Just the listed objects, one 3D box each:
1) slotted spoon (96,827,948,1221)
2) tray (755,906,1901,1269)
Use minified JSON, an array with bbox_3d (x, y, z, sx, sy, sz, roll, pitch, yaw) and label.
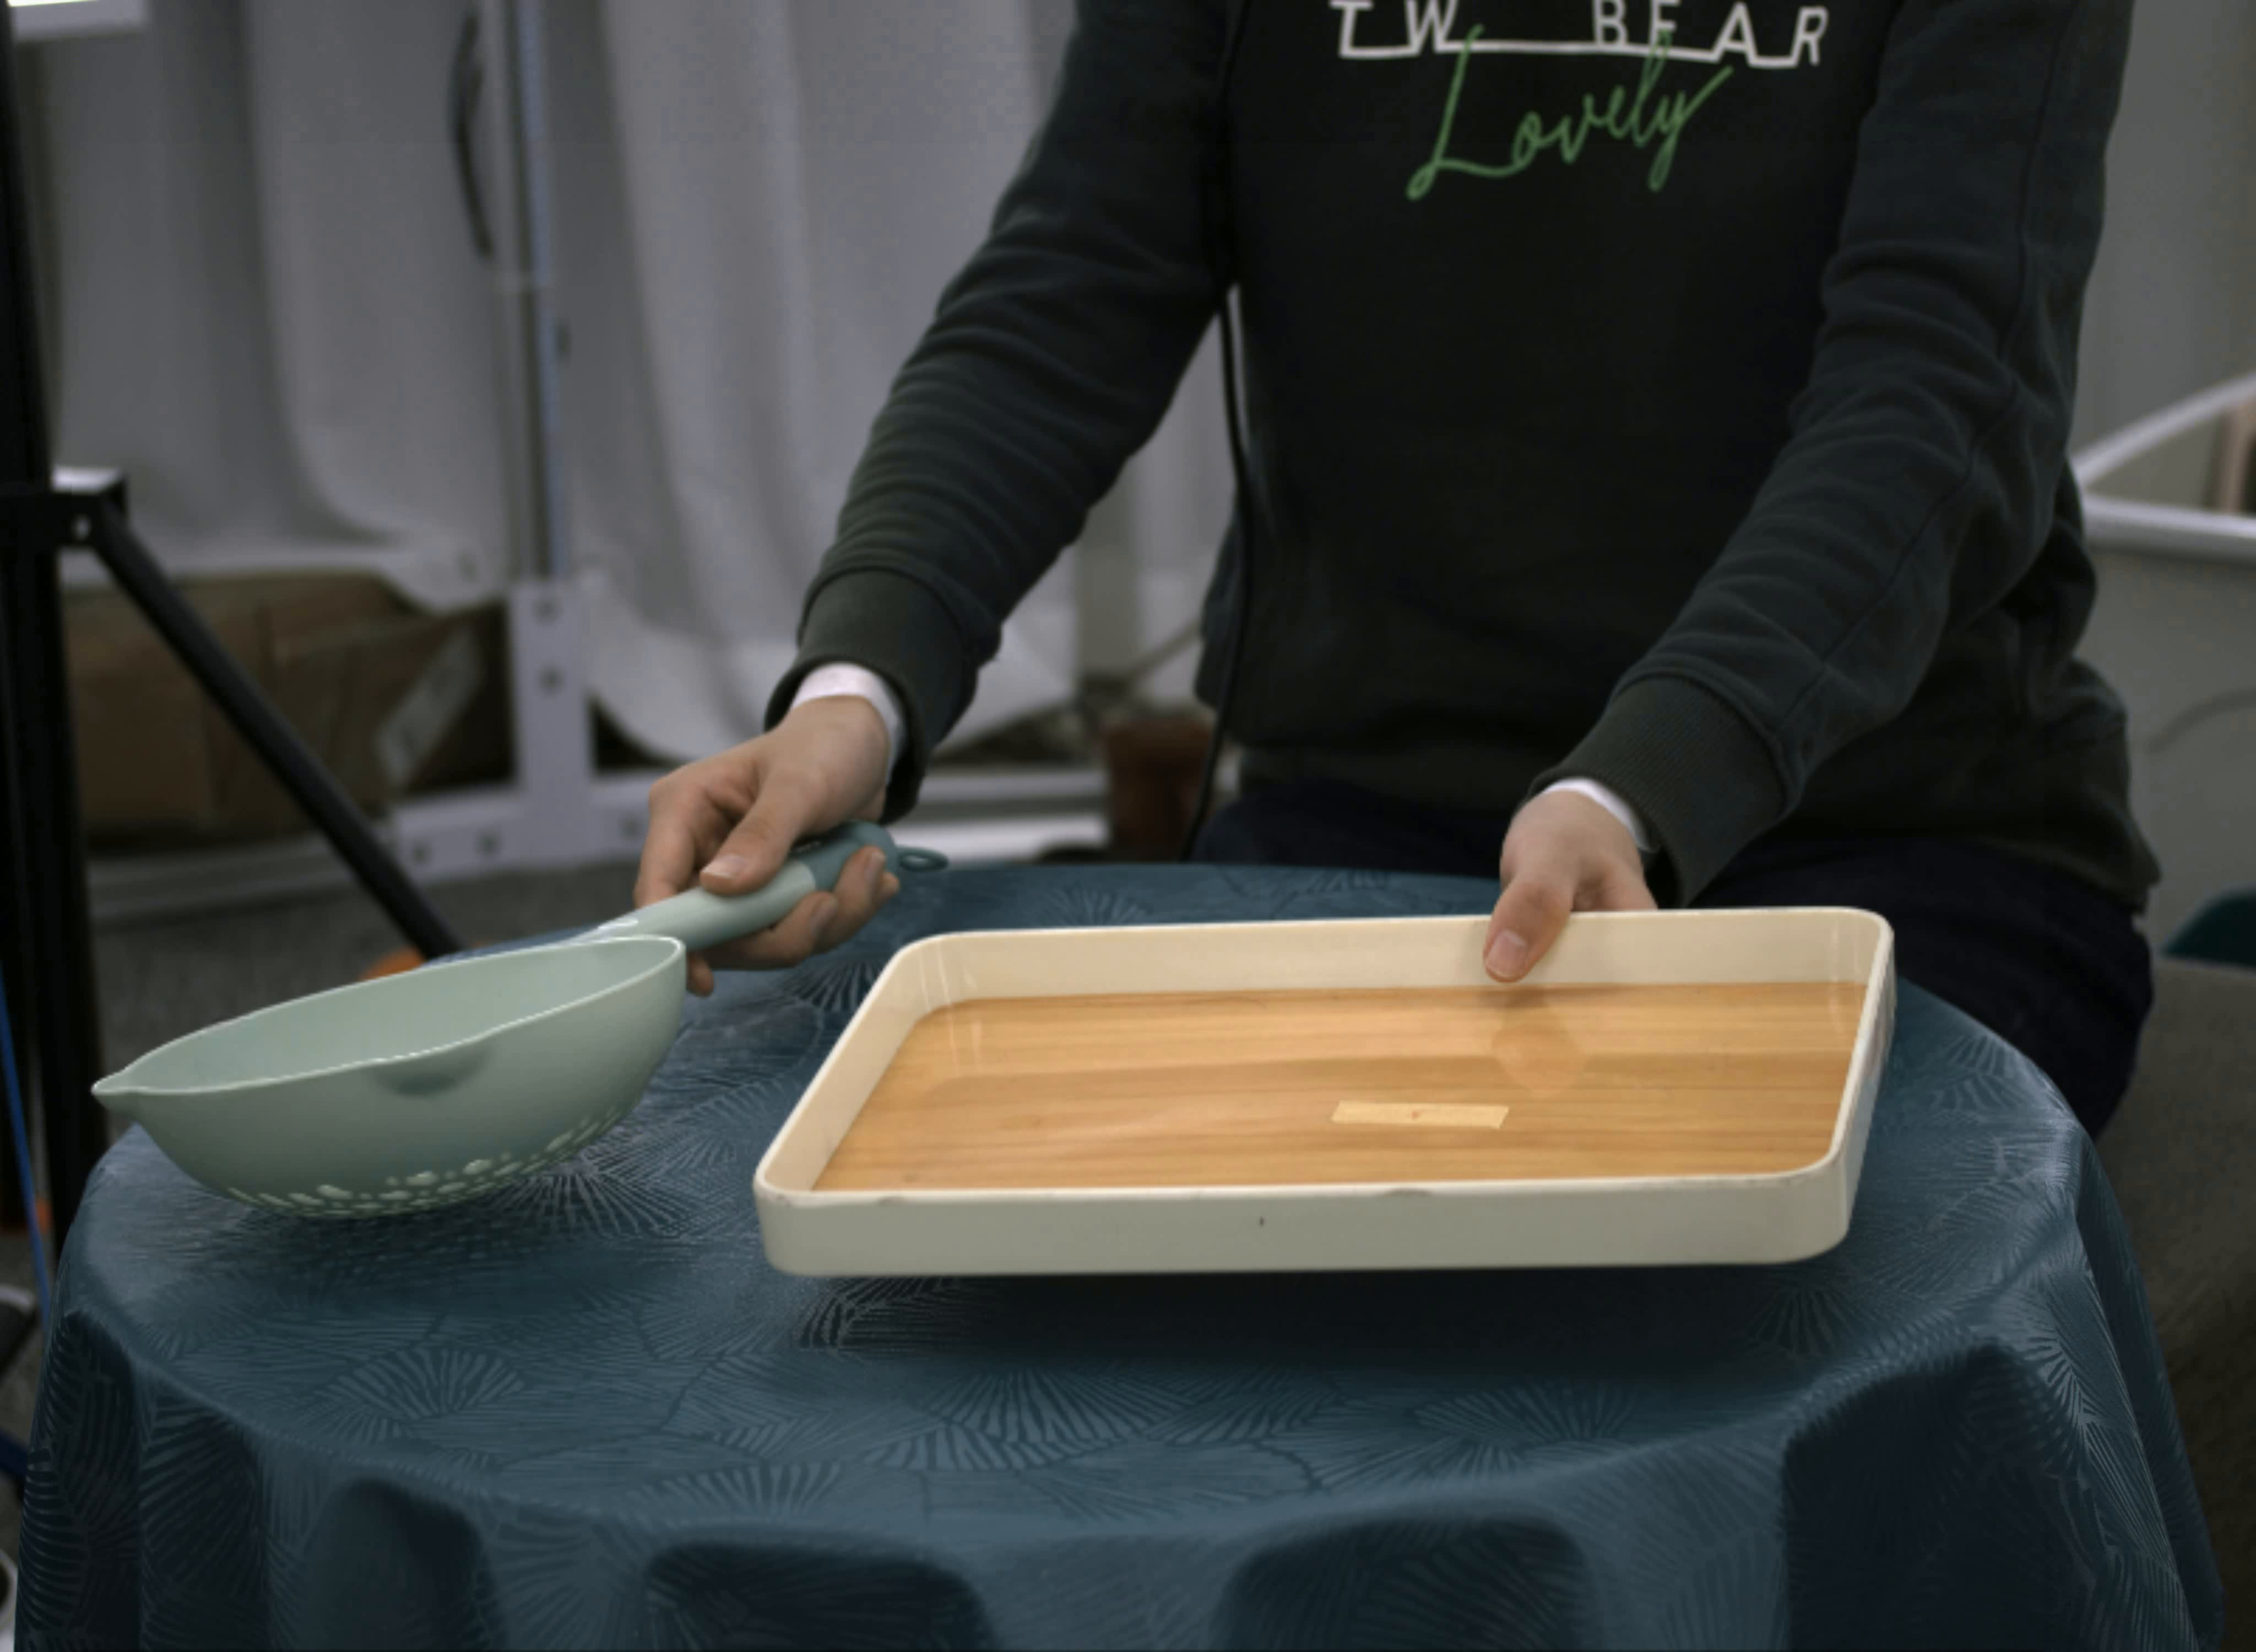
[{"bbox_3d":[-0.159,0.046,1.644,0.172,0.075,0.353,-7,17,33],"label":"slotted spoon"},{"bbox_3d":[0.061,0.073,1.485,0.302,0.027,0.190,-1,21,15],"label":"tray"}]
